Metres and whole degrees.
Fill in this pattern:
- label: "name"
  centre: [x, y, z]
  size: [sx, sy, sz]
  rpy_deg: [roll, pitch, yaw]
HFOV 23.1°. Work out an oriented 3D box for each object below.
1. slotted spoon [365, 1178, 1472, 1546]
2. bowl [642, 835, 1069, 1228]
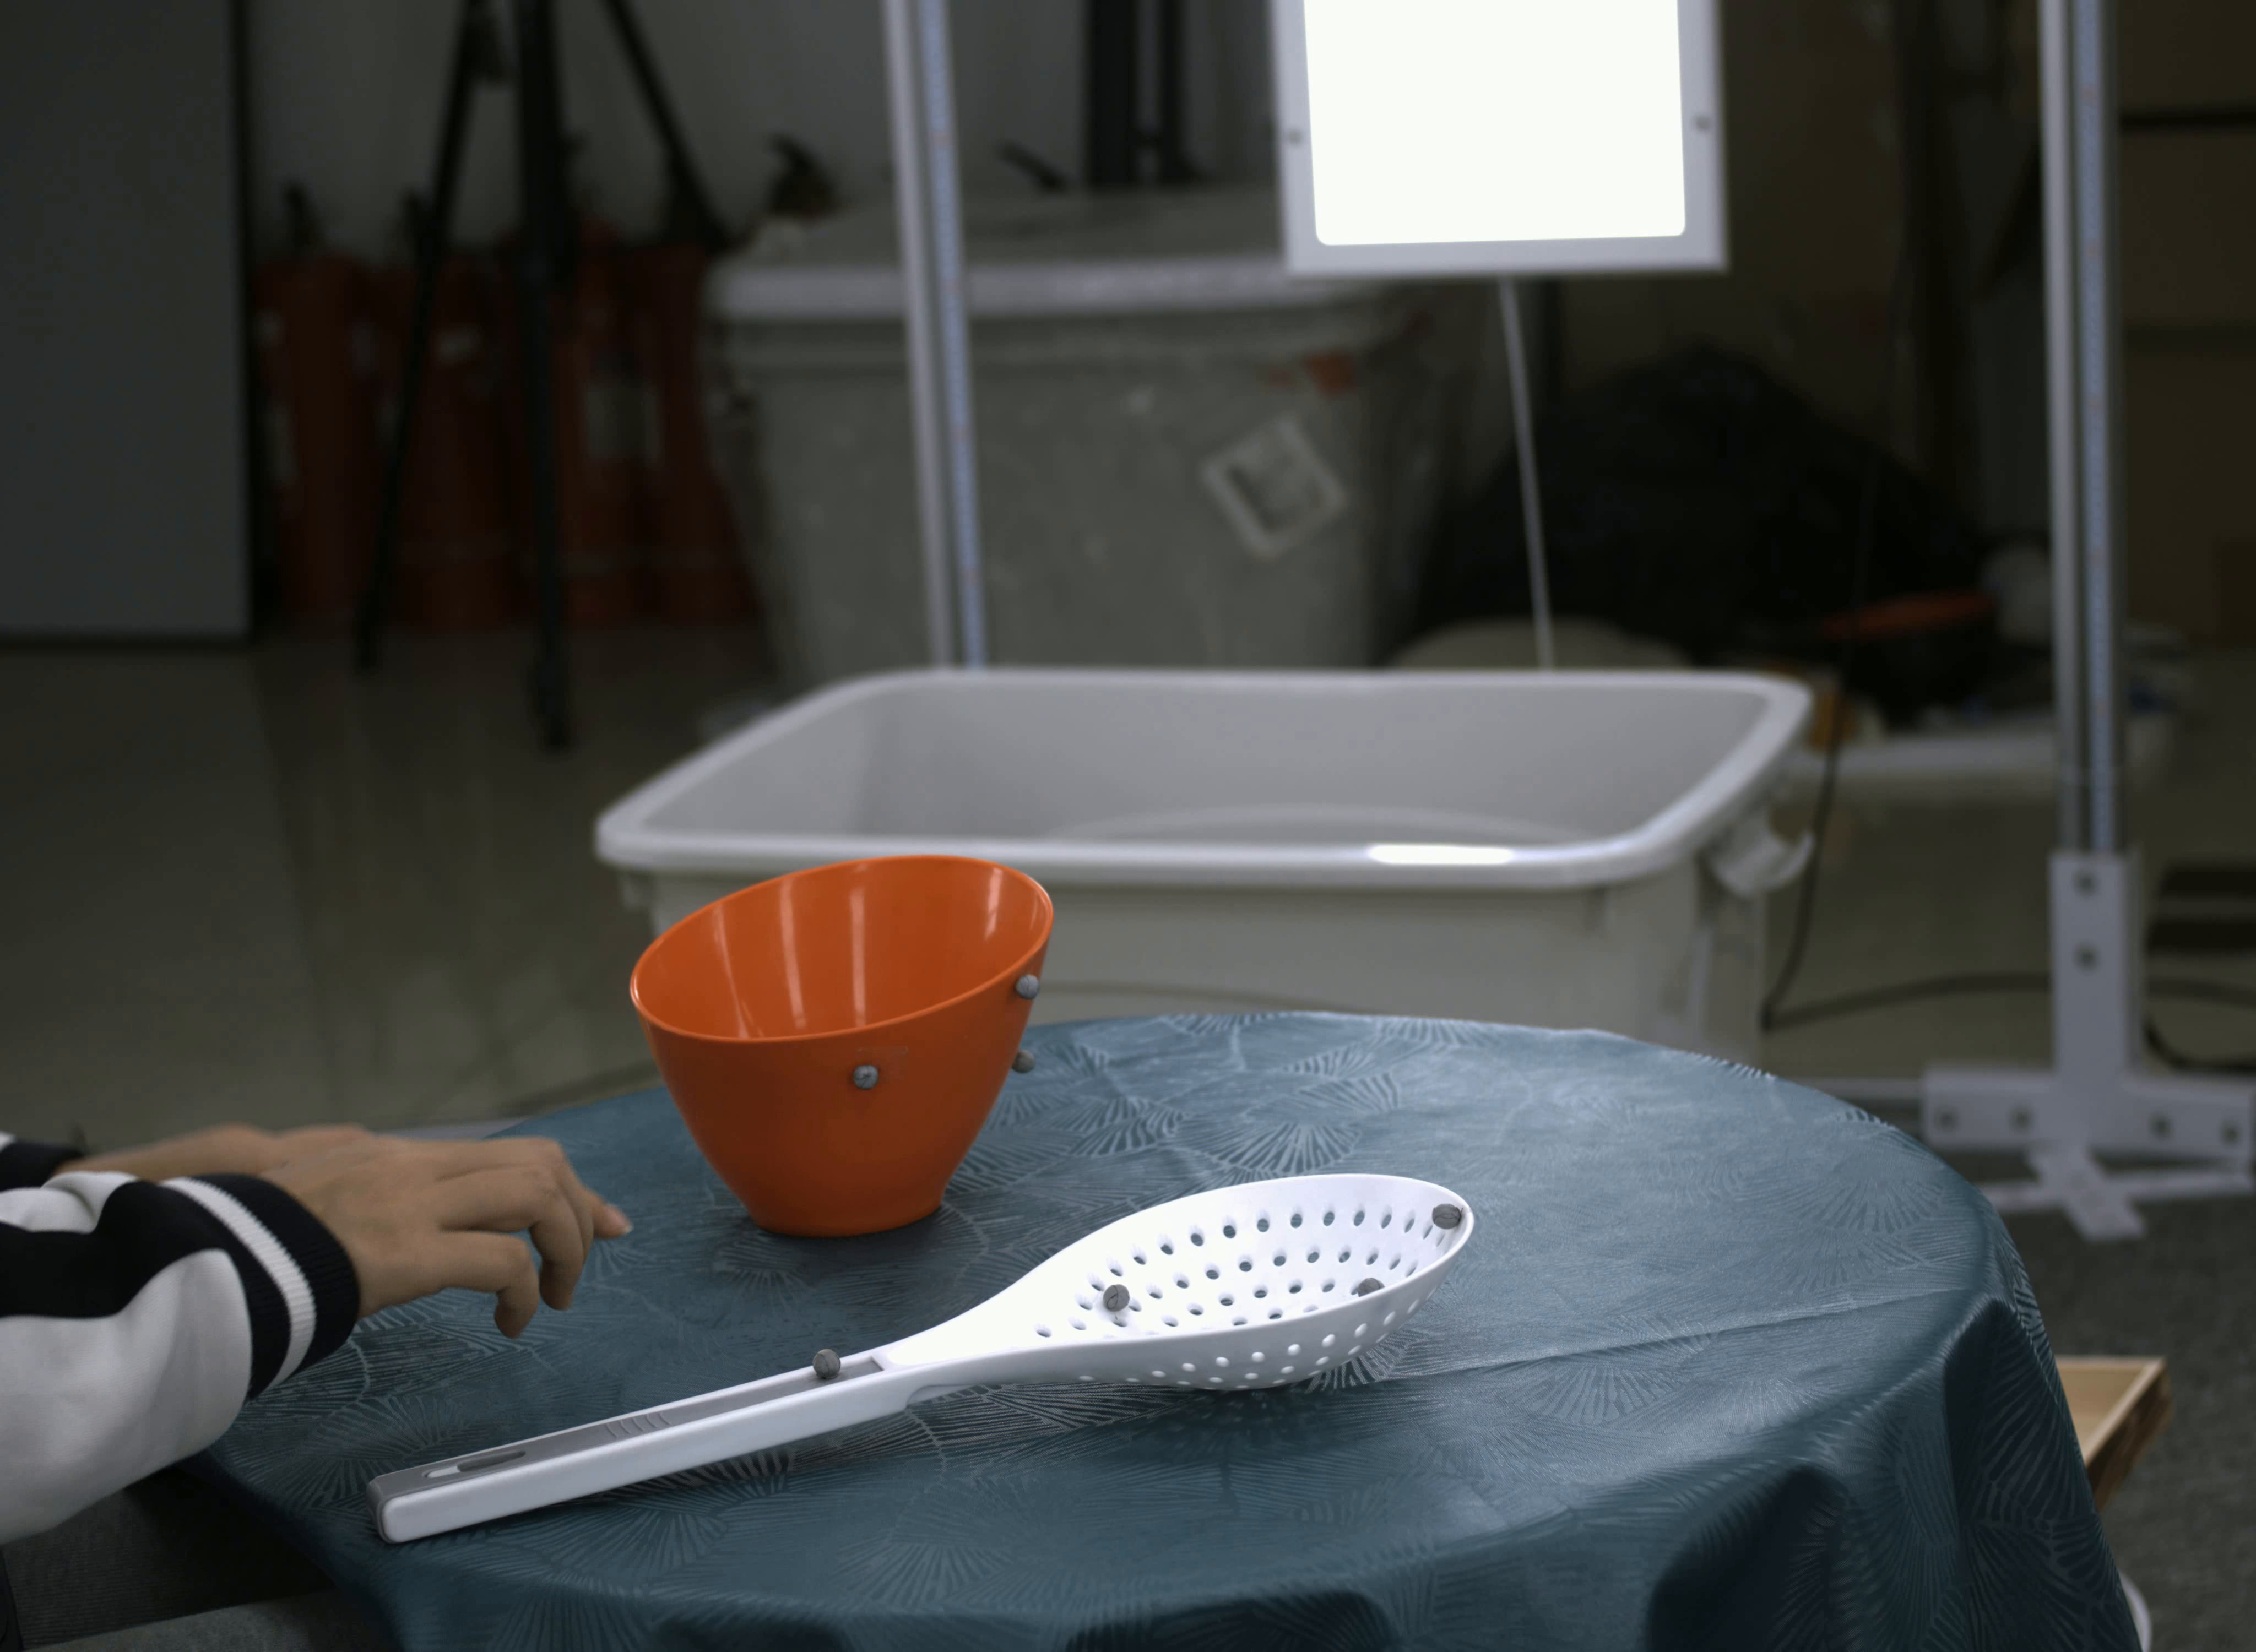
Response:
- label: "slotted spoon"
  centre: [-0.060, 0.164, 1.674]
  size: [0.345, 0.046, 0.137]
  rpy_deg: [-9, 12, -14]
- label: "bowl"
  centre: [-0.093, 0.075, 1.906]
  size: [0.147, 0.105, 0.148]
  rpy_deg: [-2, 20, -1]
